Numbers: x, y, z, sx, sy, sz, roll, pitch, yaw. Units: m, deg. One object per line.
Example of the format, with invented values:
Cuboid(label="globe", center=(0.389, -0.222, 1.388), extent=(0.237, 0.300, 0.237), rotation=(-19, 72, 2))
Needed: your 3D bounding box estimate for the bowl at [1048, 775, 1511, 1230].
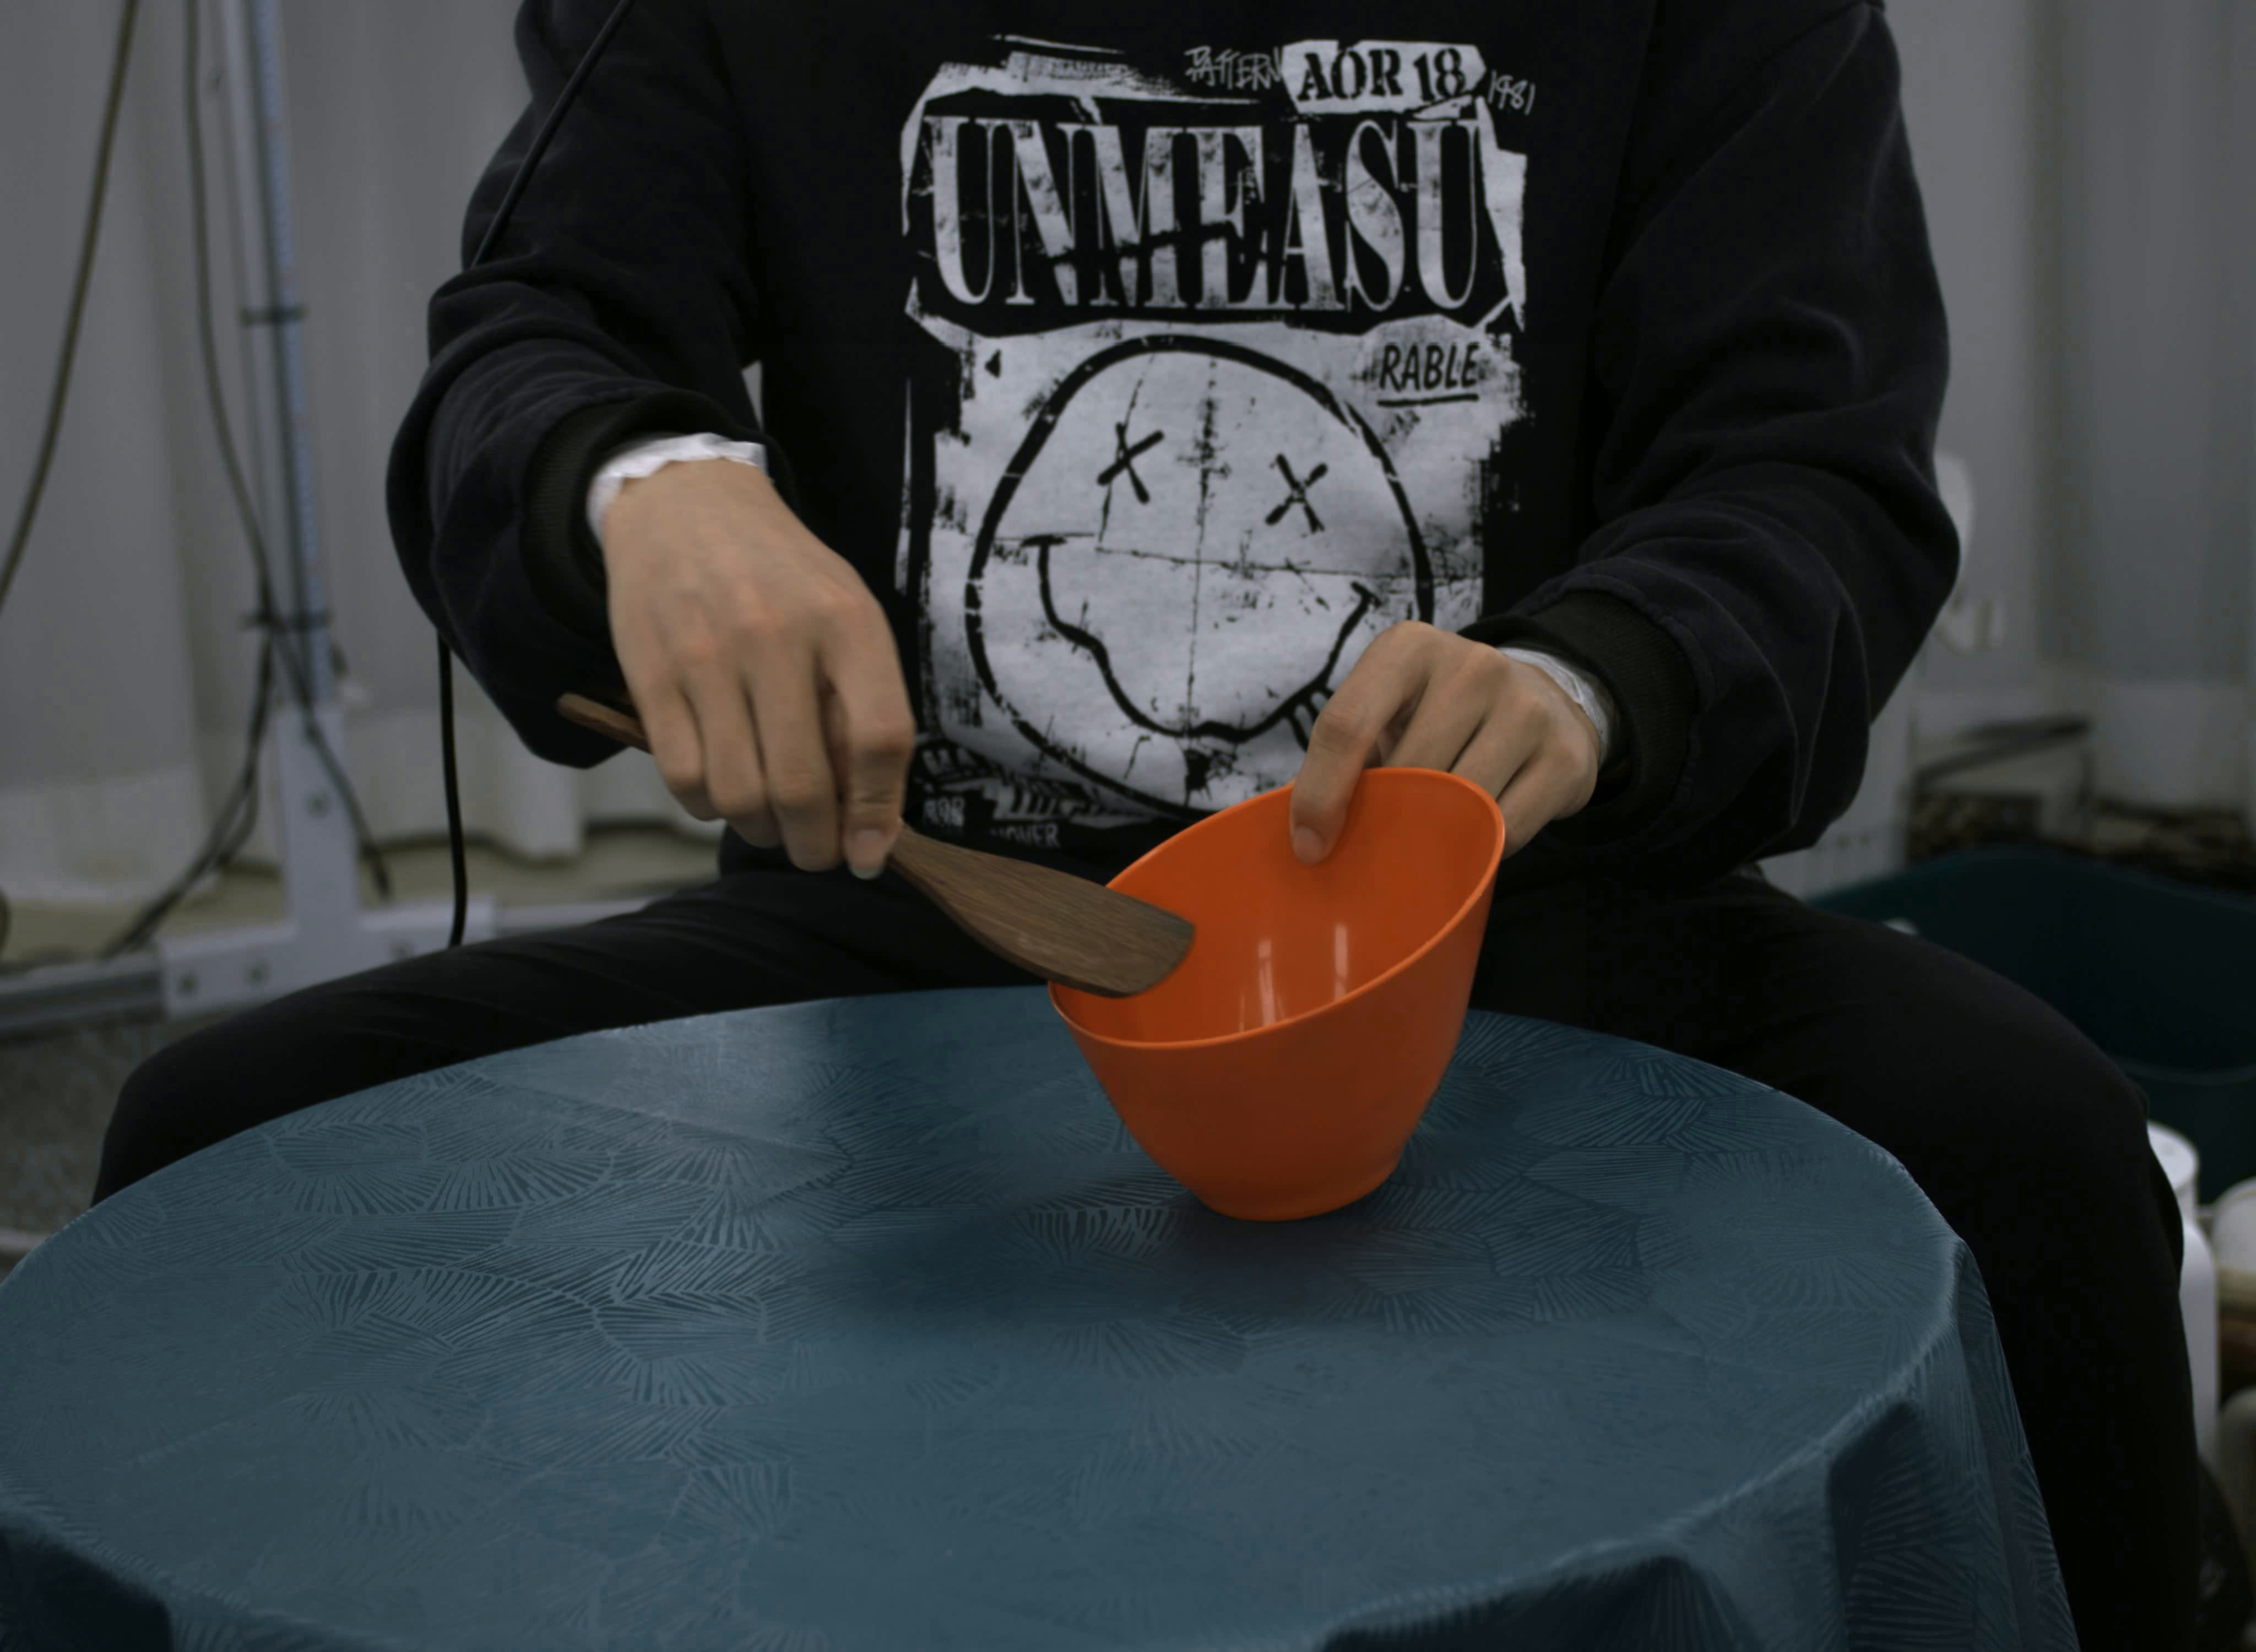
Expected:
Cuboid(label="bowl", center=(0.053, 0.061, 1.682), extent=(0.147, 0.103, 0.150), rotation=(-10, 26, 5))

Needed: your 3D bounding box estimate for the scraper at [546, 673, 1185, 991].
Cuboid(label="scraper", center=(-0.083, 0.000, 1.677), extent=(0.211, 0.011, 0.076), rotation=(25, 22, 10))
